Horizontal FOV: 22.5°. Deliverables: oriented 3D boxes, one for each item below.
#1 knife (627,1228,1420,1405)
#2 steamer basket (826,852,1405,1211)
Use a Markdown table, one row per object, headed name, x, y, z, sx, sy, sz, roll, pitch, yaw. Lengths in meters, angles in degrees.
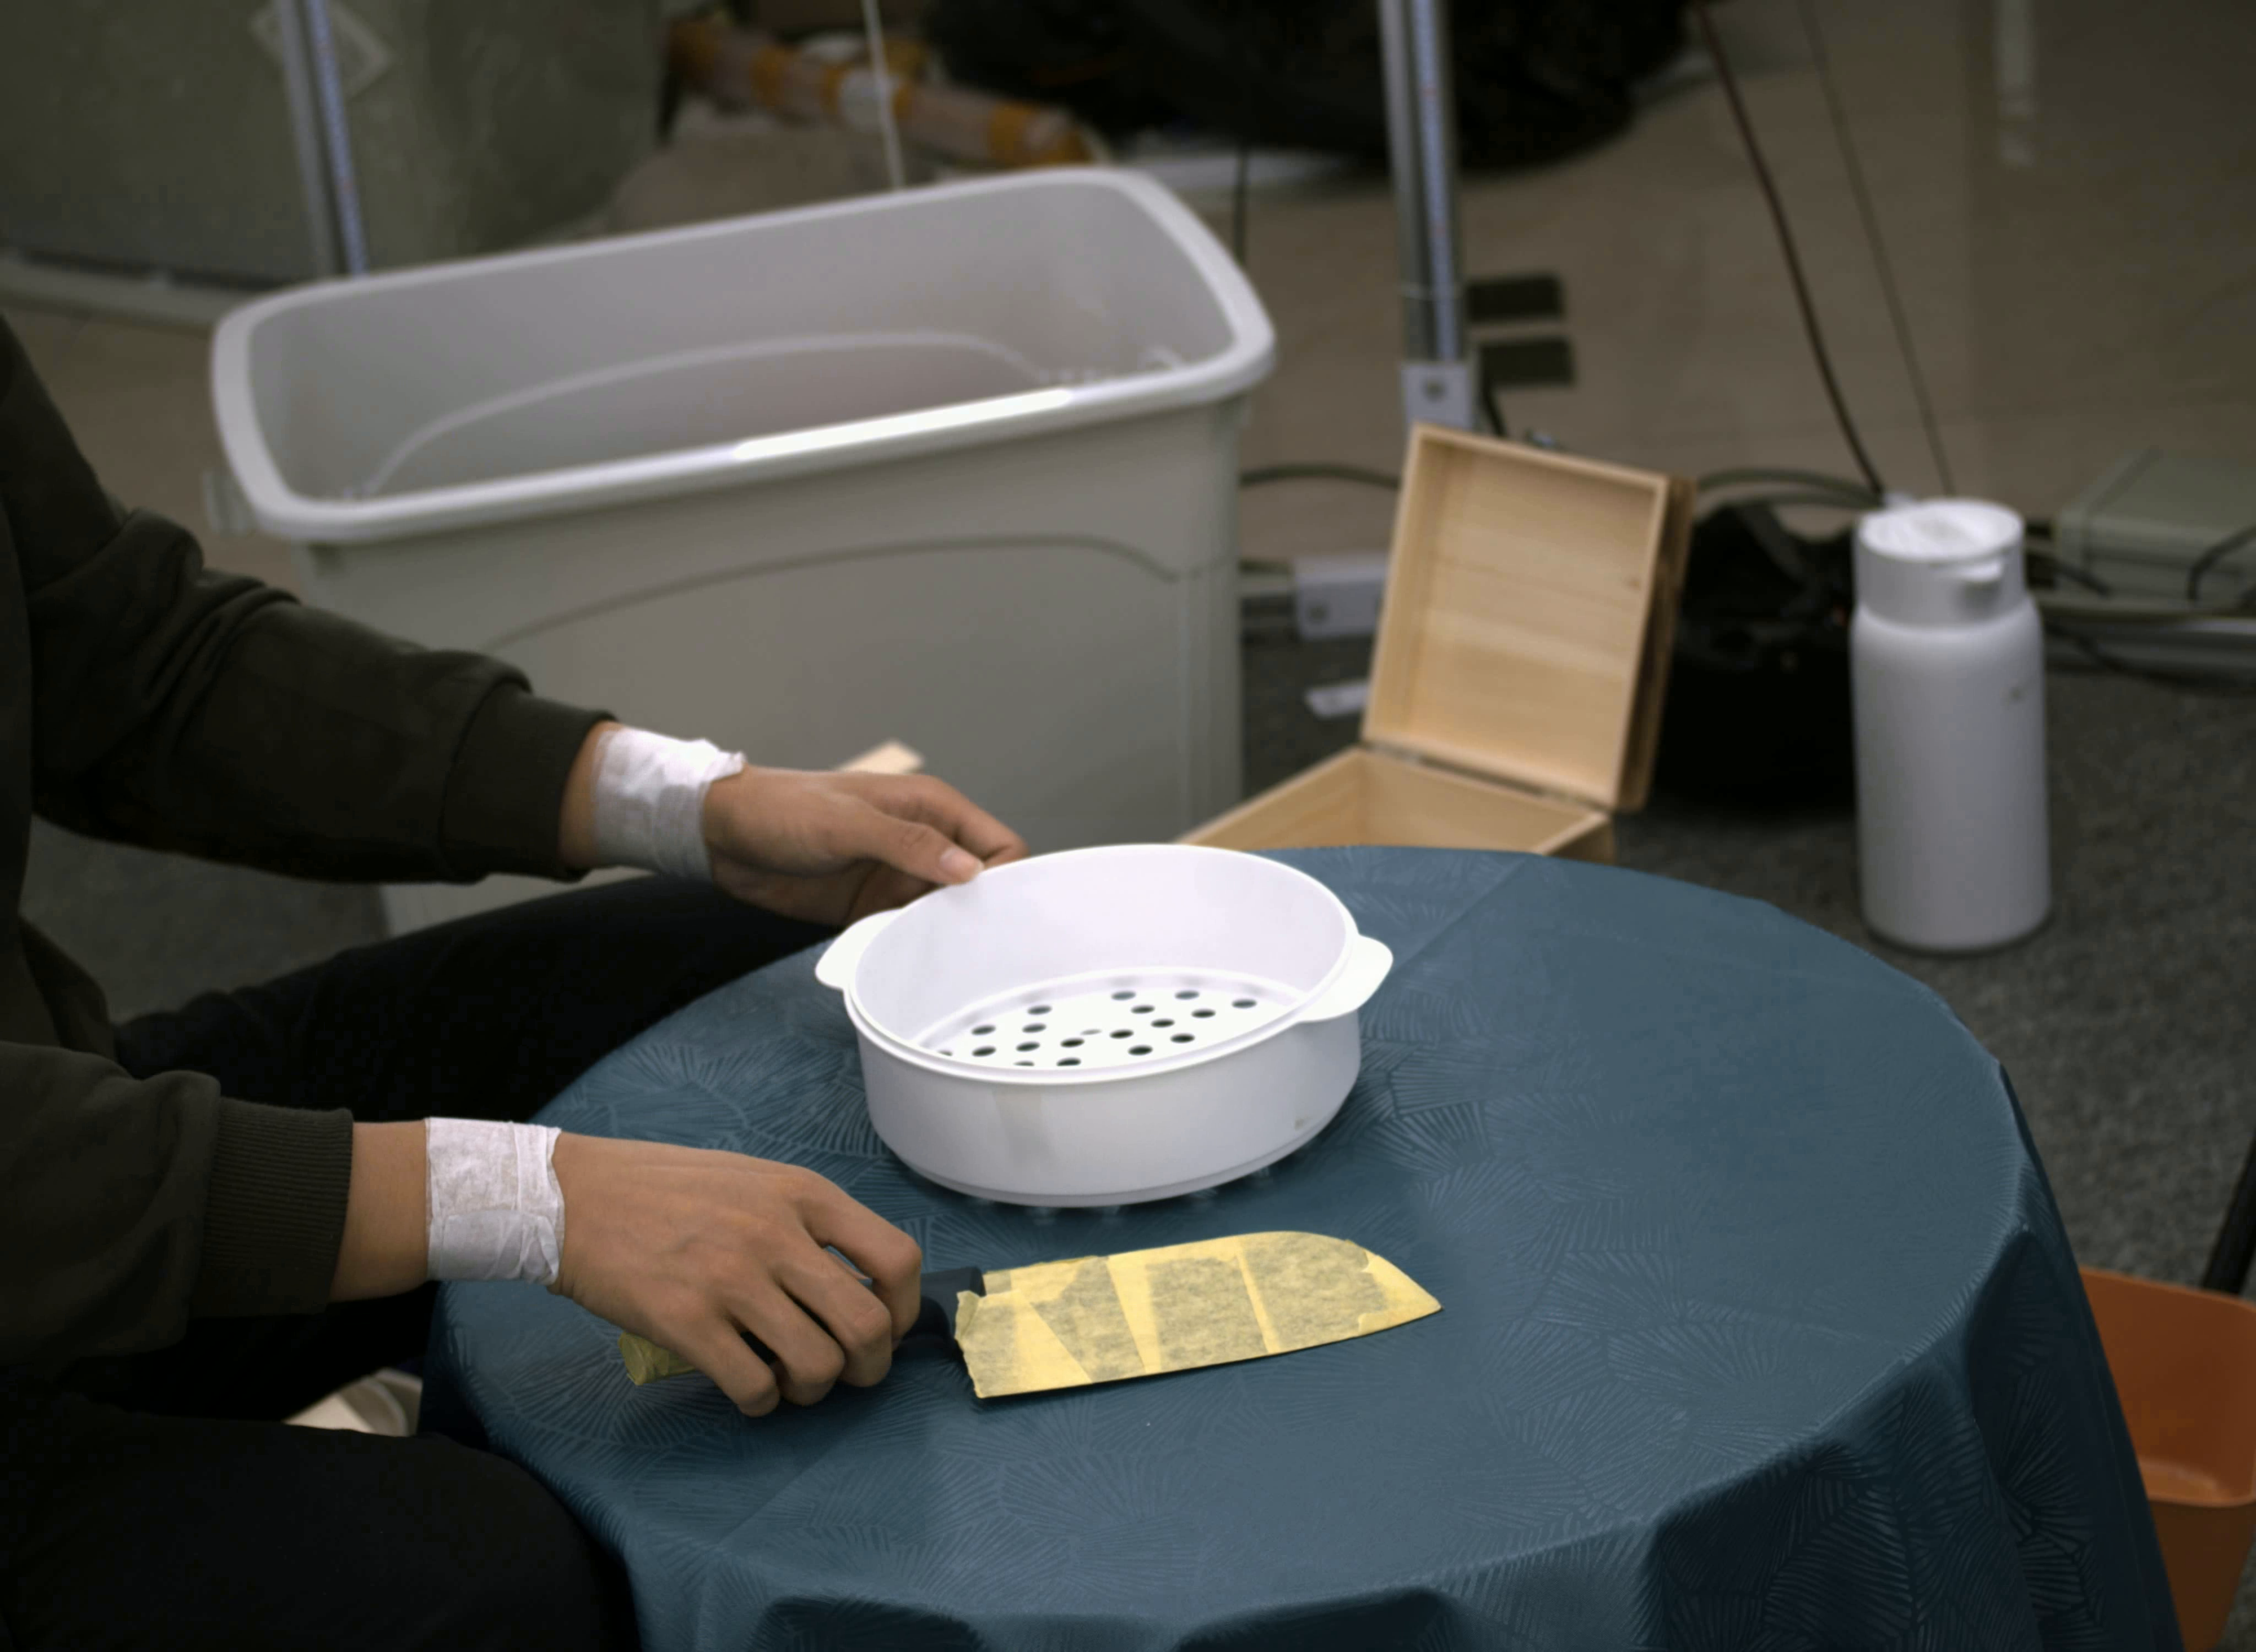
| name | x | y | z | sx | sy | sz | roll | pitch | yaw |
| --- | --- | --- | --- | --- | --- | --- | --- | --- | --- |
| knife | -0.036 | 0.182 | 2.050 | 0.289 | 0.028 | 0.080 | -8 | 30 | -4 |
| steamer basket | -0.003 | 0.079 | 2.200 | 0.230 | 0.070 | 0.199 | 2 | 25 | 22 |
